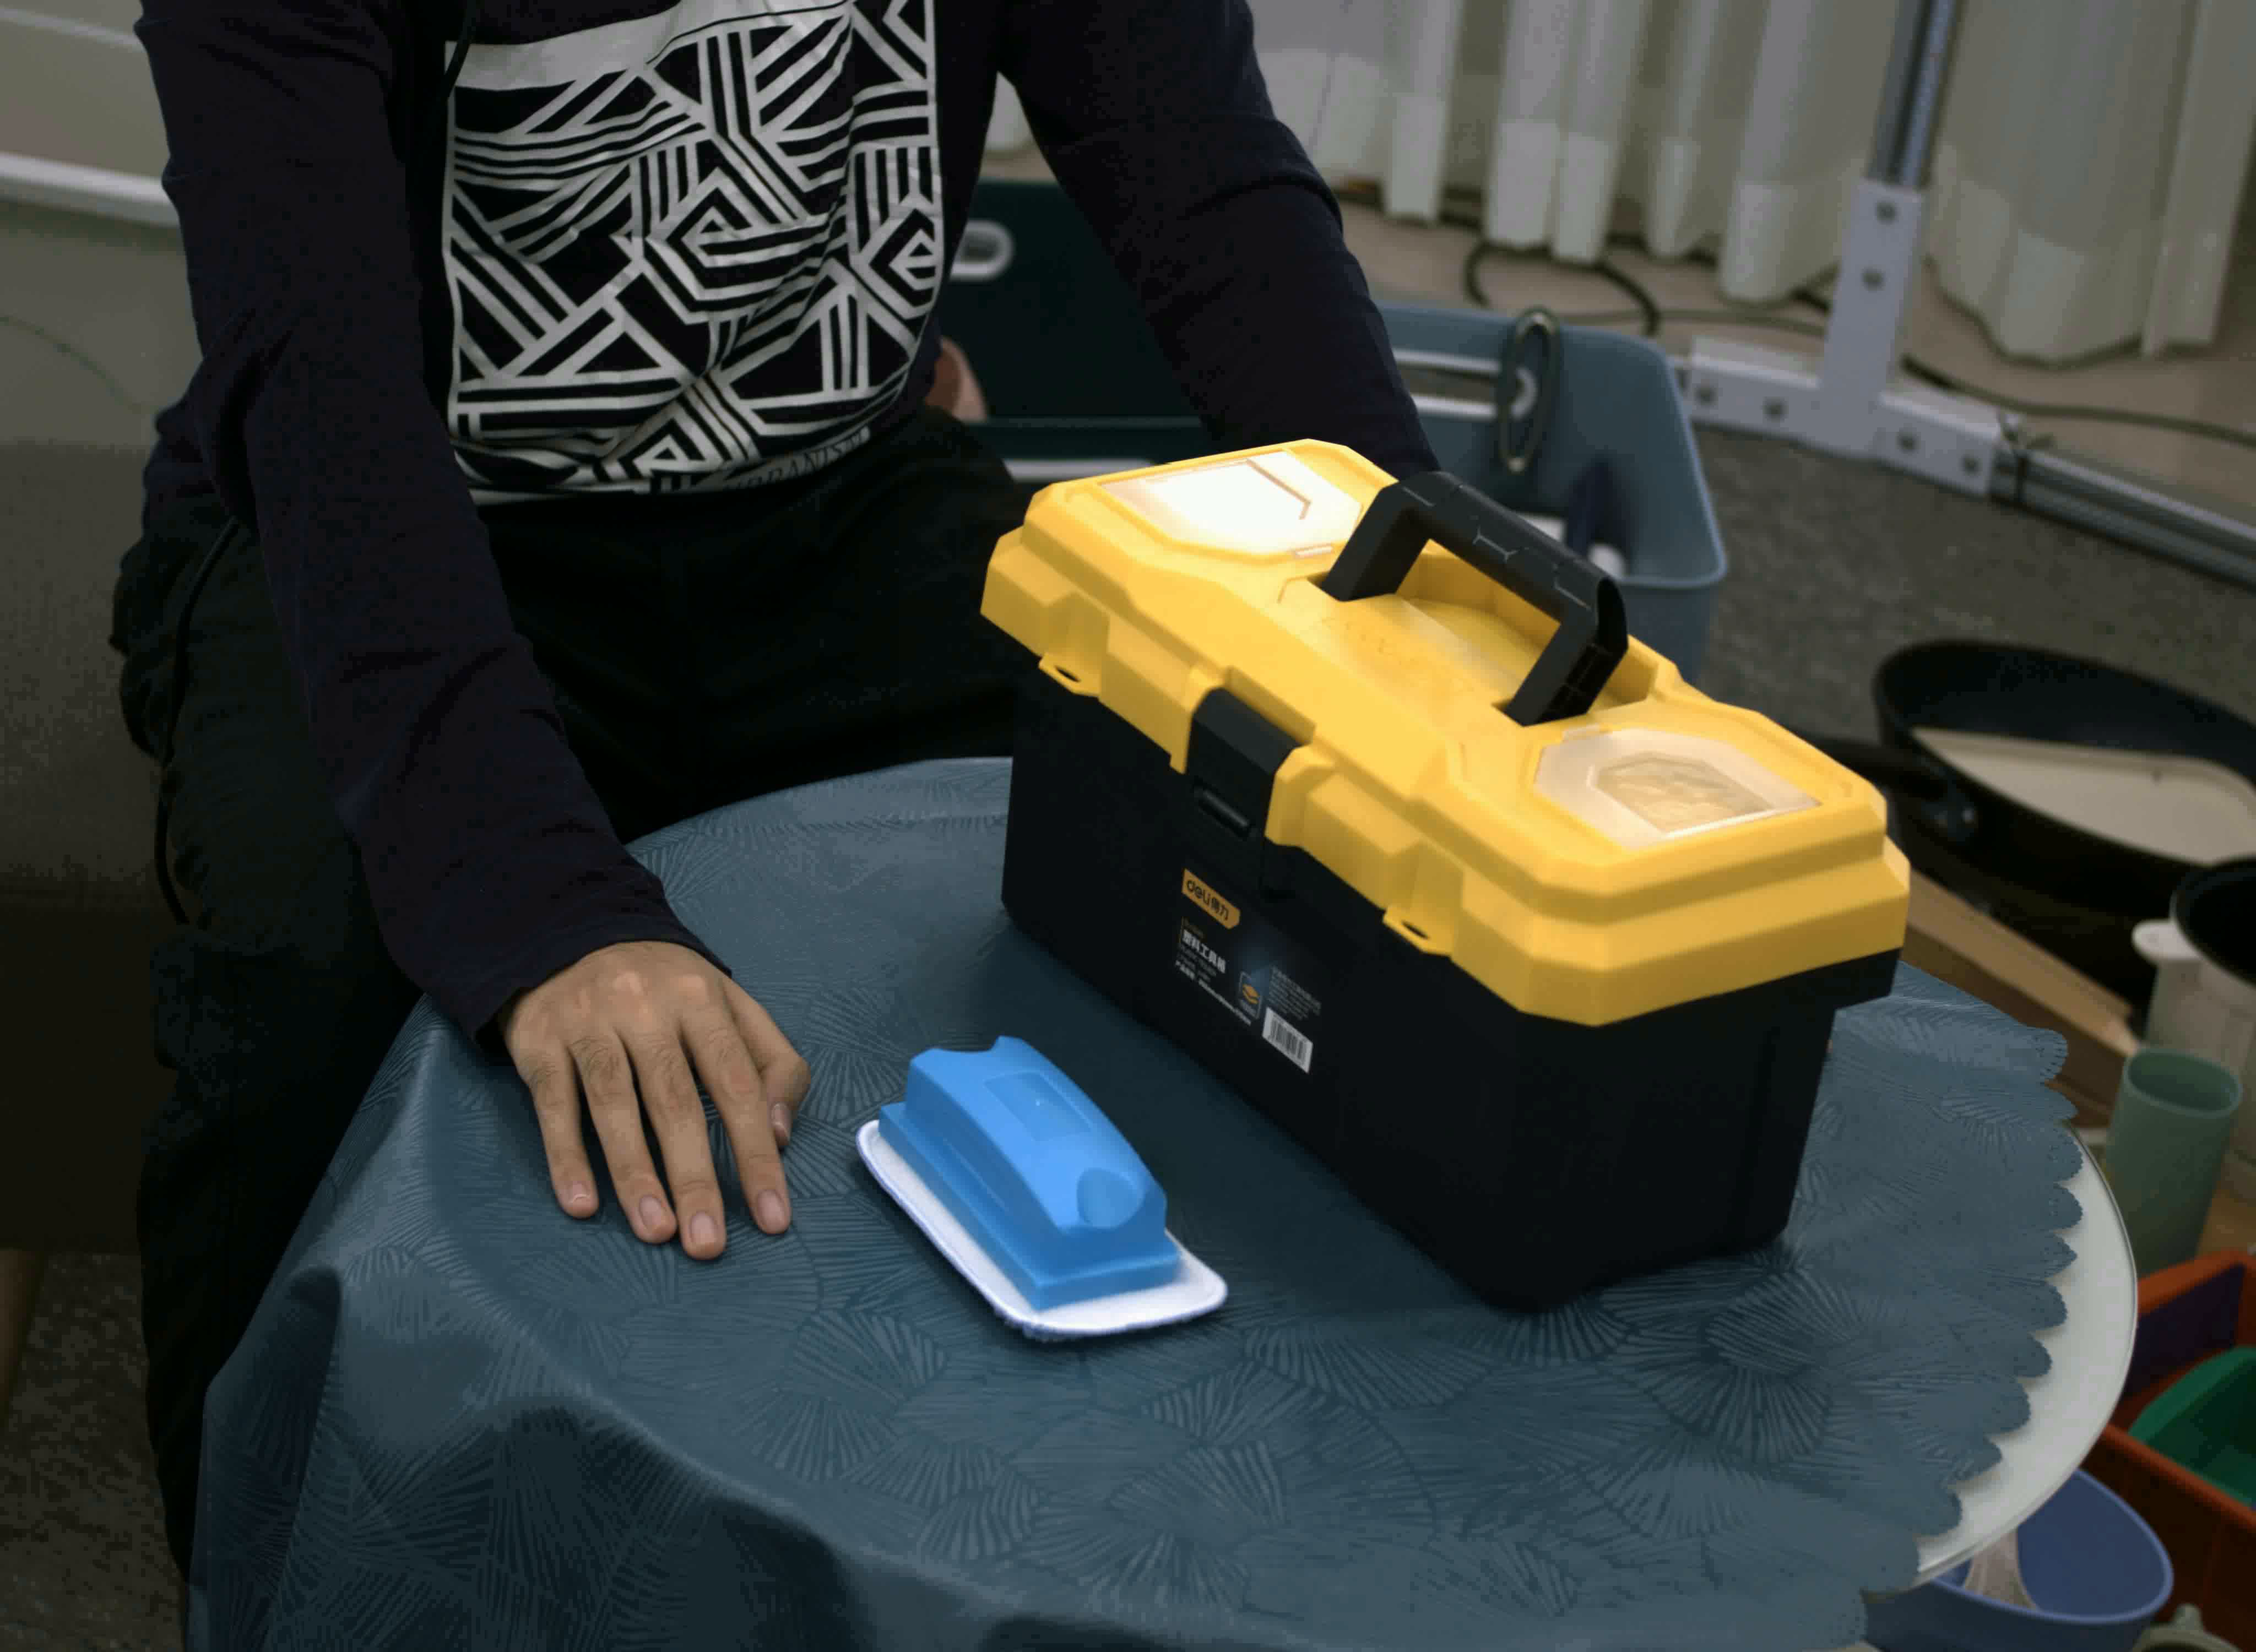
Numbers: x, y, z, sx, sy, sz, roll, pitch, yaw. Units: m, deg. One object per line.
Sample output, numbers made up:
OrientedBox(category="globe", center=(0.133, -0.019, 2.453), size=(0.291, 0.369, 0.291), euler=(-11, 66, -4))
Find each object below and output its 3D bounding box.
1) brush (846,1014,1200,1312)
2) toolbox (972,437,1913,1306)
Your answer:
OrientedBox(category="brush", center=(-0.032, 0.107, 1.765), size=(0.083, 0.056, 0.145), euler=(-3, 30, -26))
OrientedBox(category="toolbox", center=(0.097, 0.010, 1.860), size=(0.180, 0.172, 0.354), euler=(-12, 32, -33))
